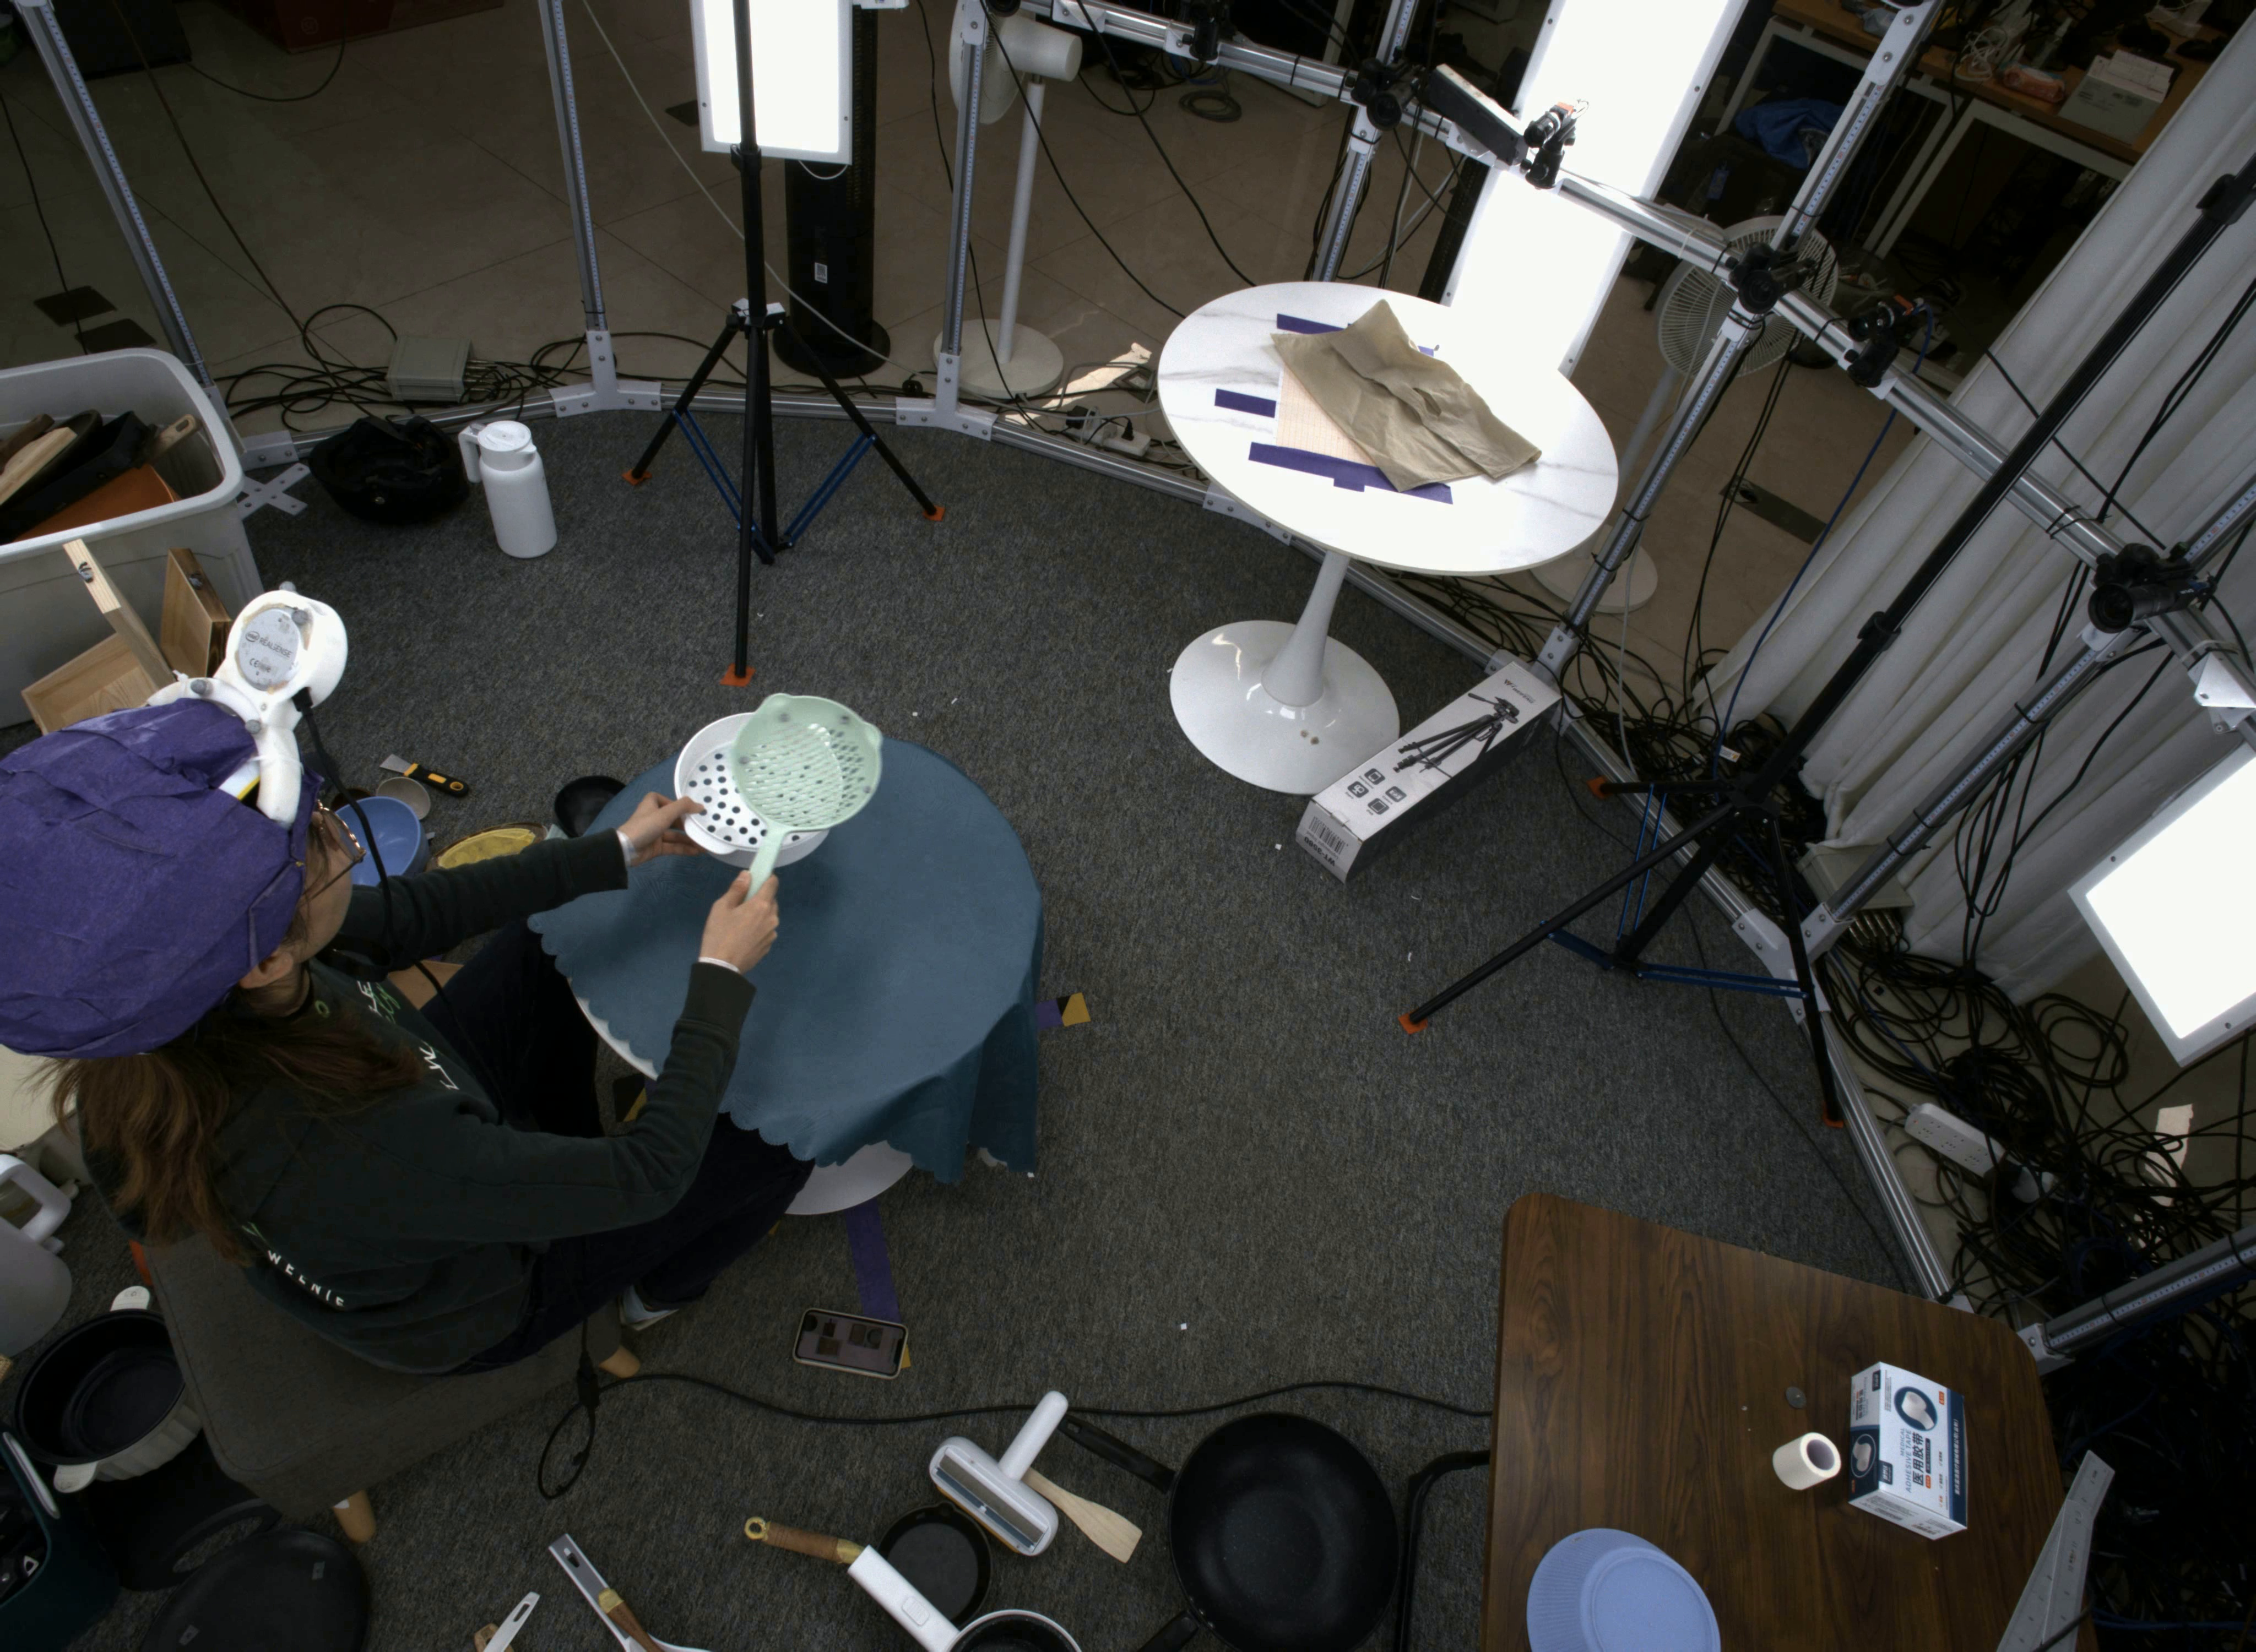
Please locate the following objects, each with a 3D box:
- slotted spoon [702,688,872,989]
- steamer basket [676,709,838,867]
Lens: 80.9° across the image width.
[{"bbox_3d":[-0.404,0.009,1.452,0.169,0.076,0.355,19,56,-8],"label":"slotted spoon"},{"bbox_3d":[-0.458,-0.046,1.613,0.201,0.070,0.229,31,56,0],"label":"steamer basket"}]
